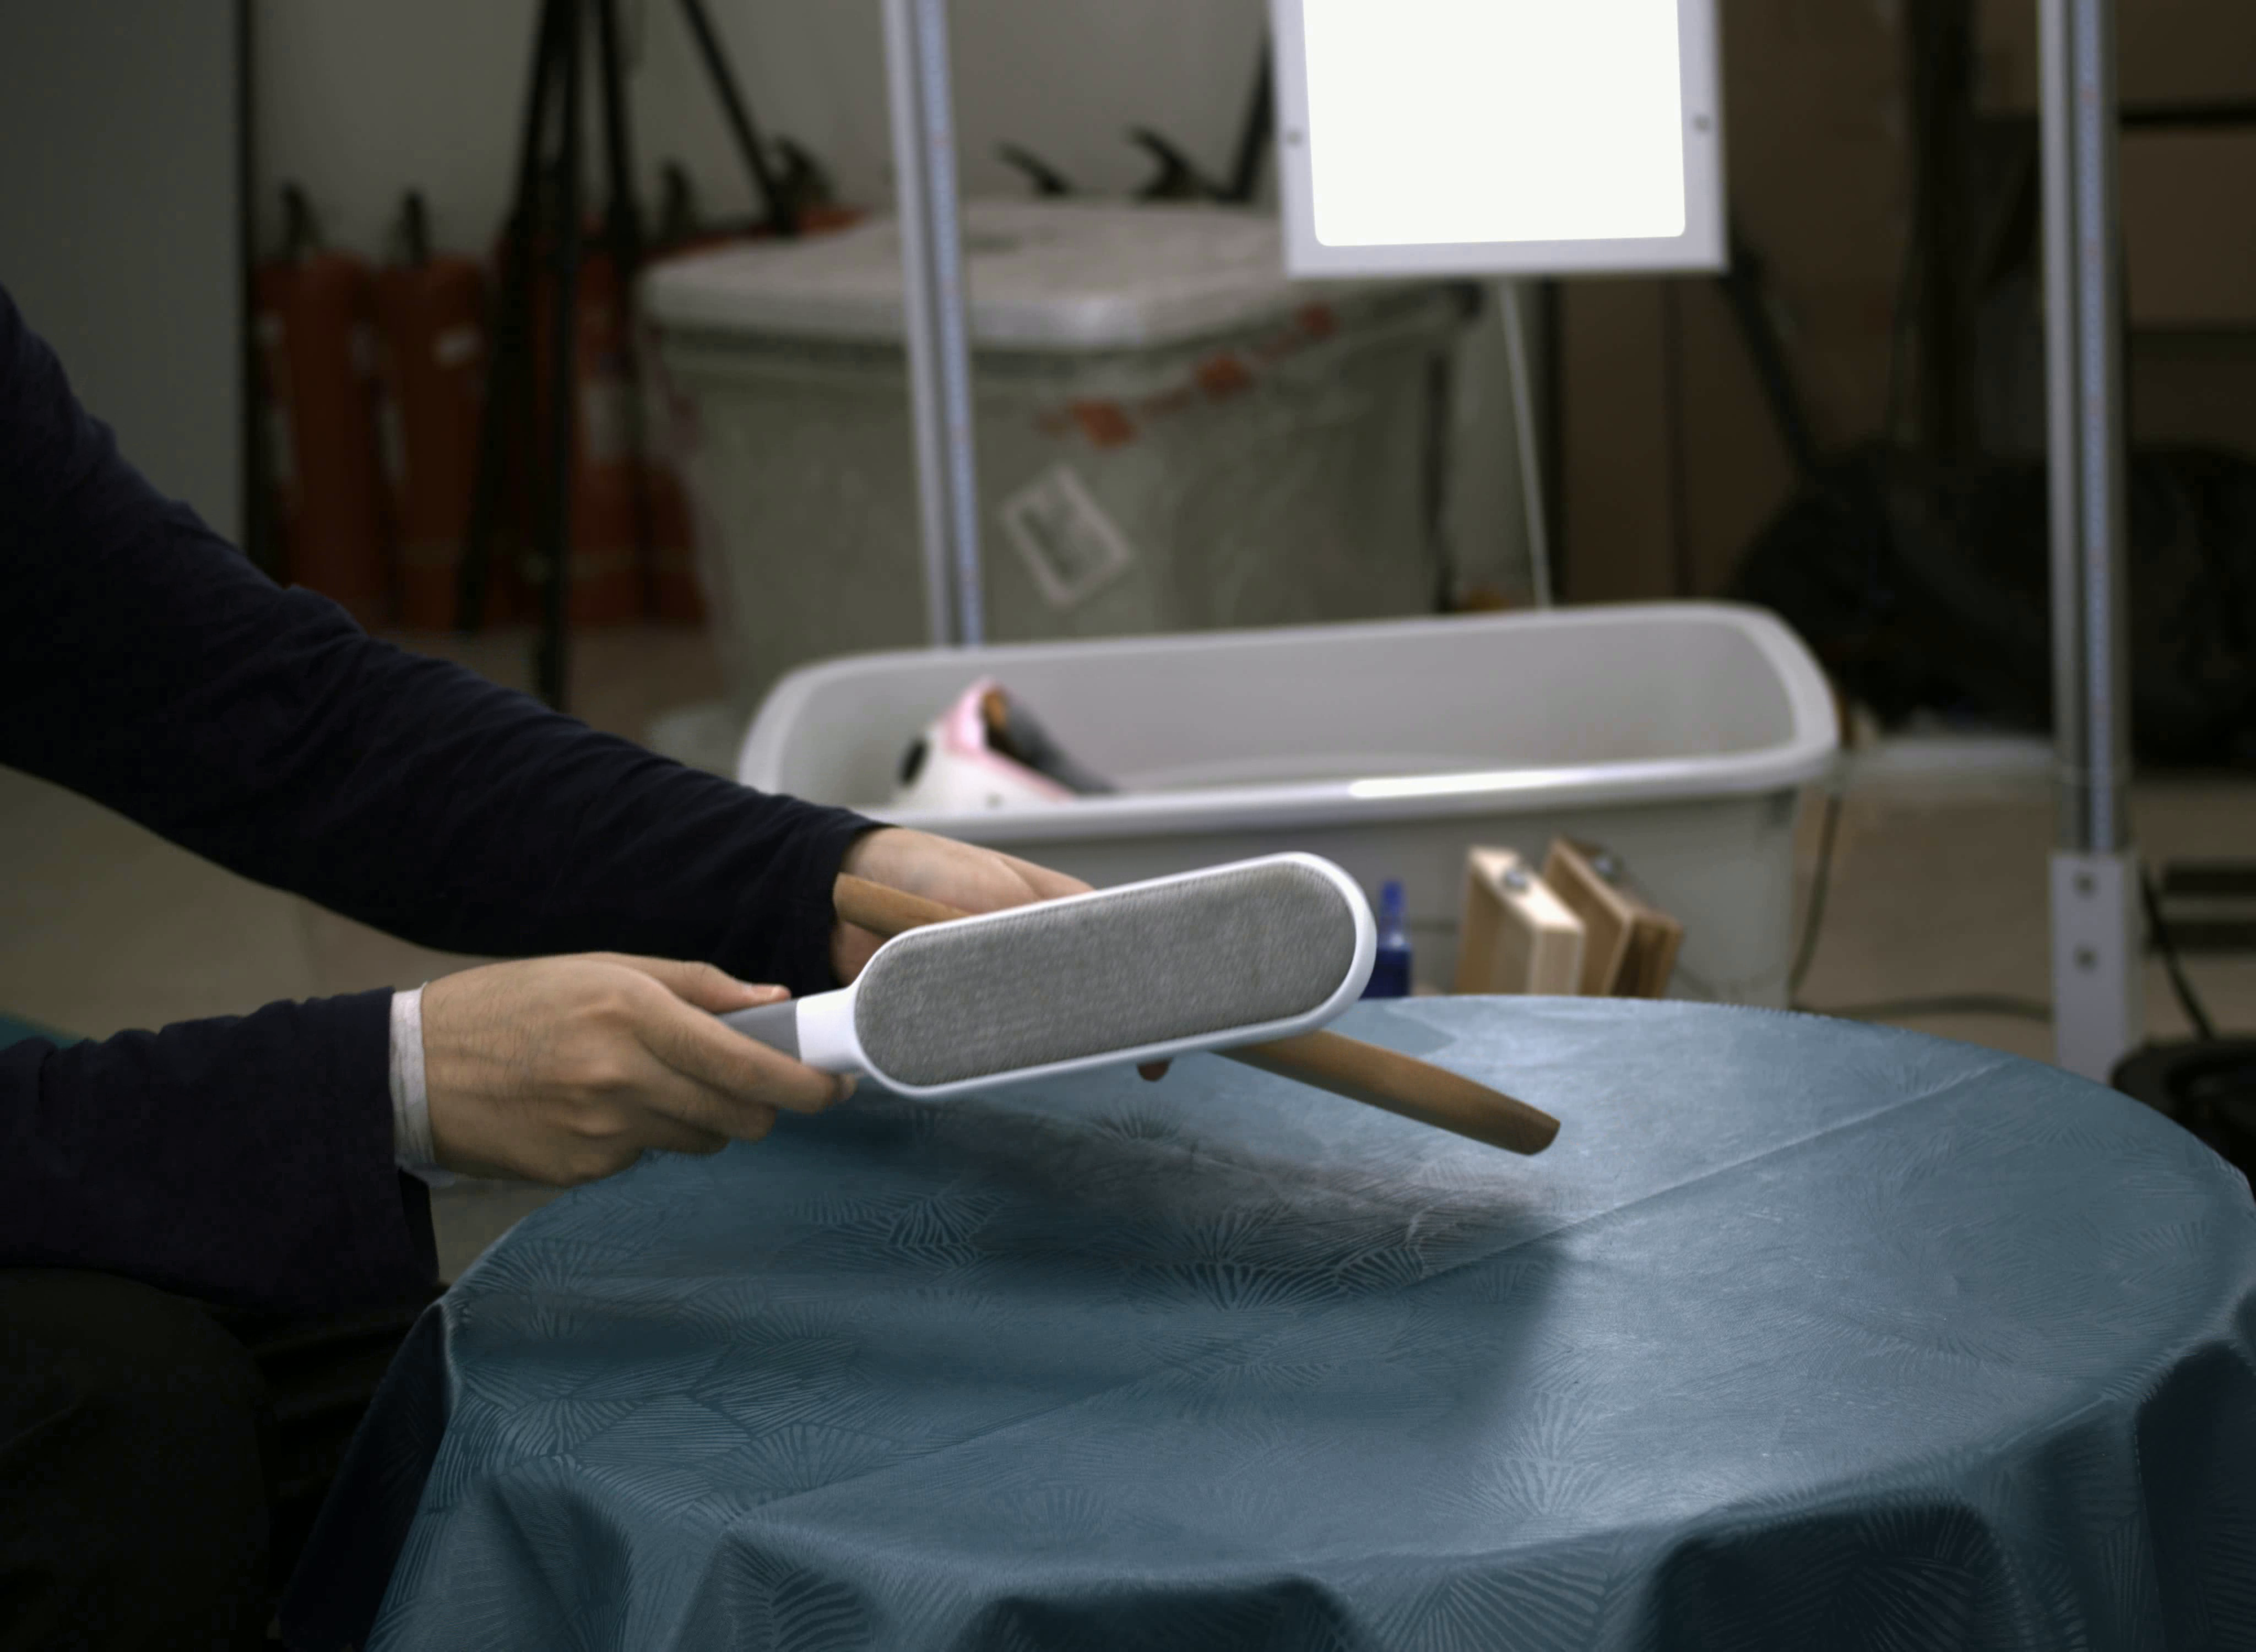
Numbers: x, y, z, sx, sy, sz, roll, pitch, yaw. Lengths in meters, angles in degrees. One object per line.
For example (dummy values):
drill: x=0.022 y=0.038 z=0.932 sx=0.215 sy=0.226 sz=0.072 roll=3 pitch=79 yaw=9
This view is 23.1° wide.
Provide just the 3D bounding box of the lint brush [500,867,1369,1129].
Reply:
lint brush: x=-0.066 y=0.062 z=1.768 sx=0.314 sy=0.060 sz=0.020 roll=-11 pitch=-8 yaw=24

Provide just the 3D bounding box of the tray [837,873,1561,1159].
tray: x=0.022 y=0.065 z=1.878 sx=0.255 sy=0.023 sz=0.128 roll=17 pitch=-5 yaw=29
